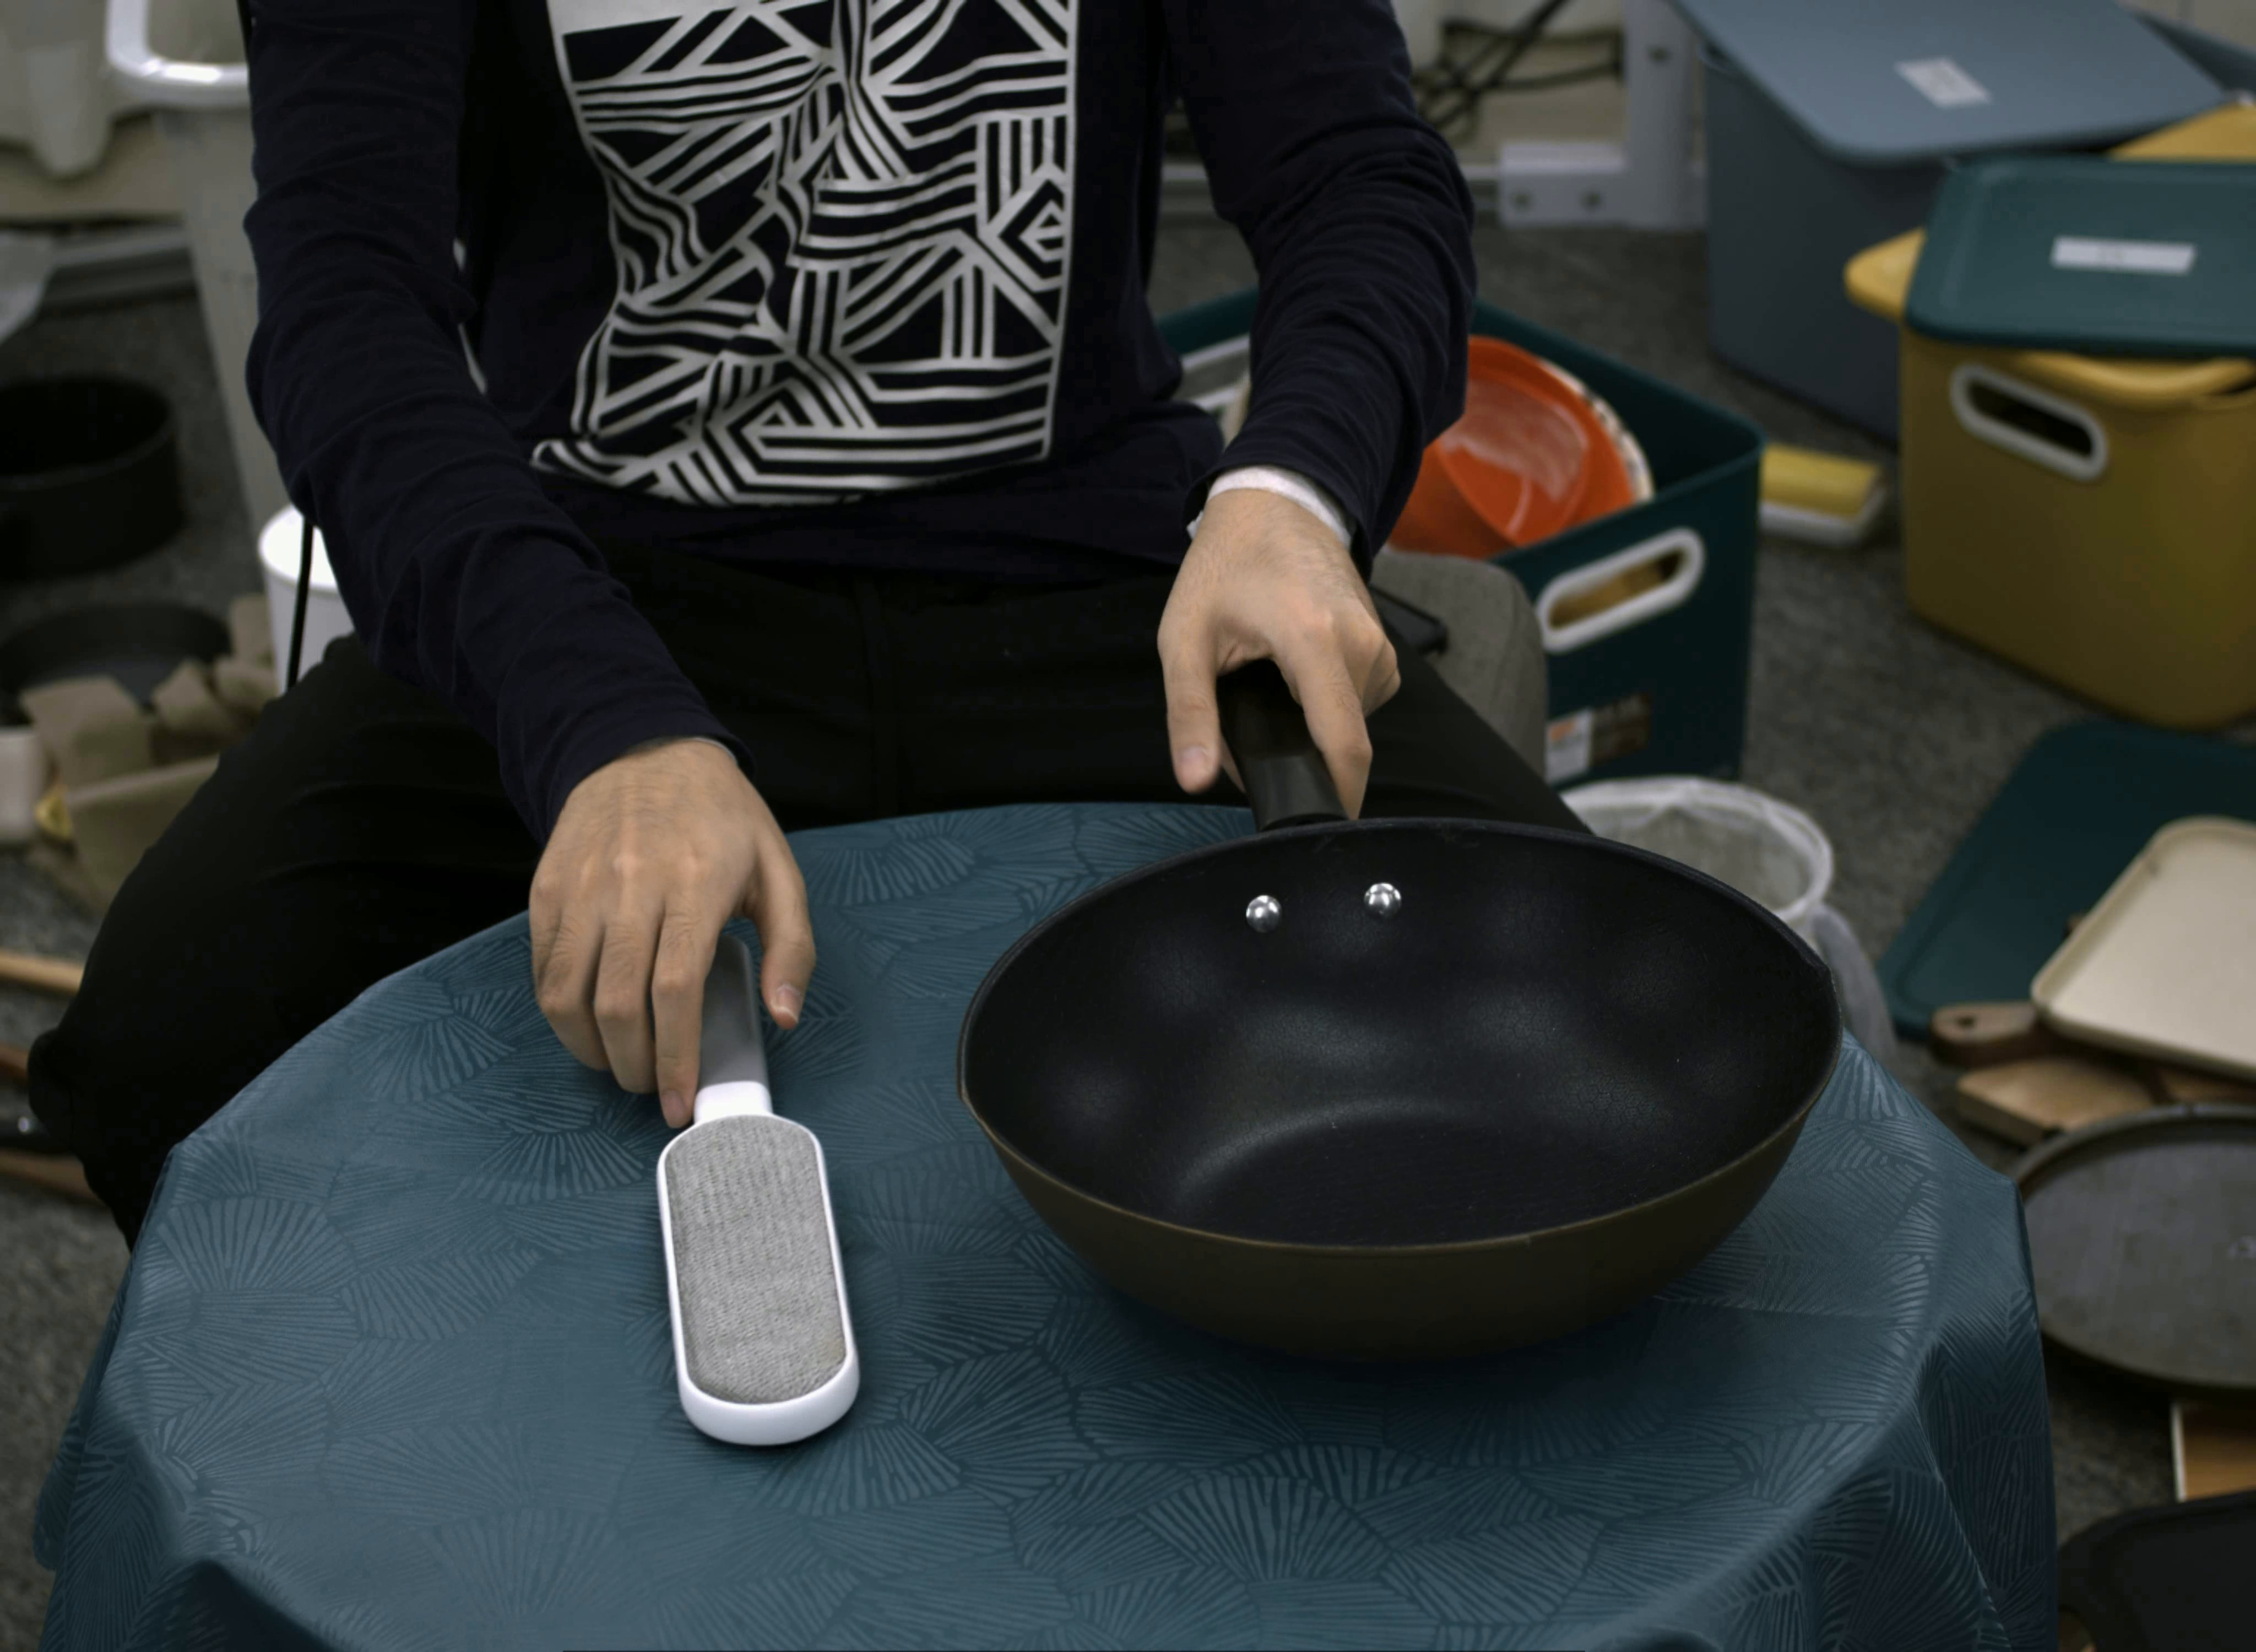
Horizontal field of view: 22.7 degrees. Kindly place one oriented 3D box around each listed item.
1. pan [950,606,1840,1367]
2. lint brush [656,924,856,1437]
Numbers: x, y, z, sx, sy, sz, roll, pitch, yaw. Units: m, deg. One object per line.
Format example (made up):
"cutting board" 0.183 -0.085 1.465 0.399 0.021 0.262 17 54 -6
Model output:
"pan" 0.072 0.055 1.894 0.287 0.086 0.469 -6 27 -7
"lint brush" -0.127 0.112 1.860 0.060 0.021 0.313 -12 28 -2
